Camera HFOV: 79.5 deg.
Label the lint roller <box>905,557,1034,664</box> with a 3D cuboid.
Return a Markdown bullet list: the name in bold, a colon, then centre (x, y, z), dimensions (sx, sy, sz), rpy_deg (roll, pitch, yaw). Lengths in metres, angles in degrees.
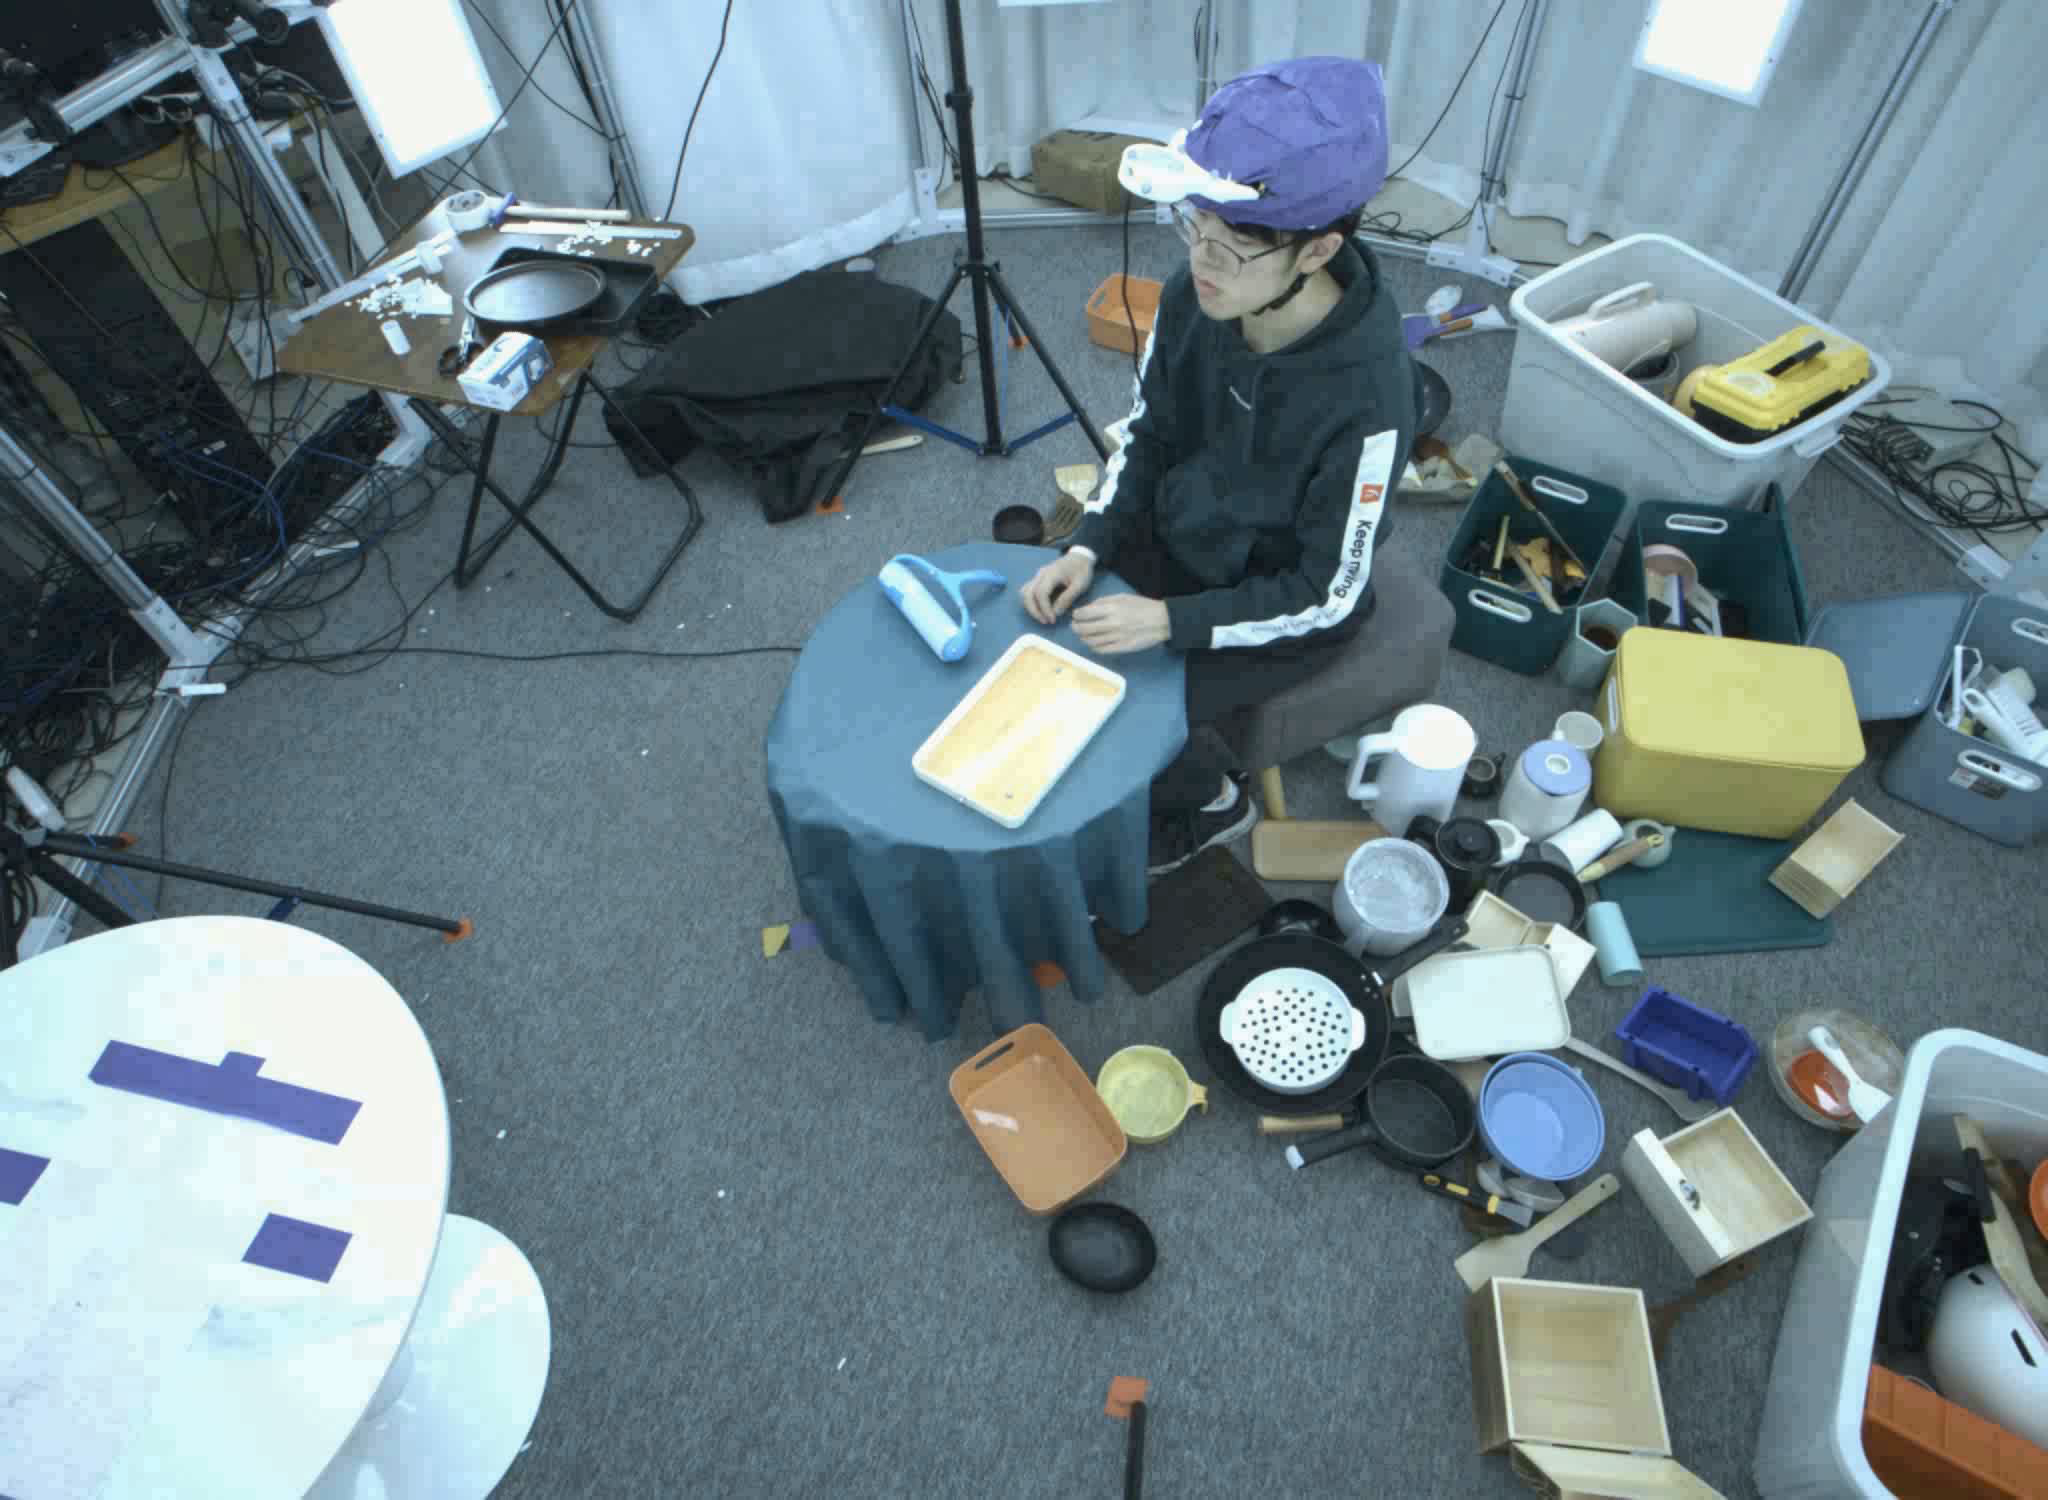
- **lint roller**: centre (-0.066, -0.243, 1.925), dimensions (0.181, 0.069, 0.224), rpy_deg (-32, 57, -18)

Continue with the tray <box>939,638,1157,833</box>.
- **tray**: centre (0.038, -0.028, 1.785), dimensions (0.188, 0.028, 0.302), rpy_deg (31, 61, 21)
